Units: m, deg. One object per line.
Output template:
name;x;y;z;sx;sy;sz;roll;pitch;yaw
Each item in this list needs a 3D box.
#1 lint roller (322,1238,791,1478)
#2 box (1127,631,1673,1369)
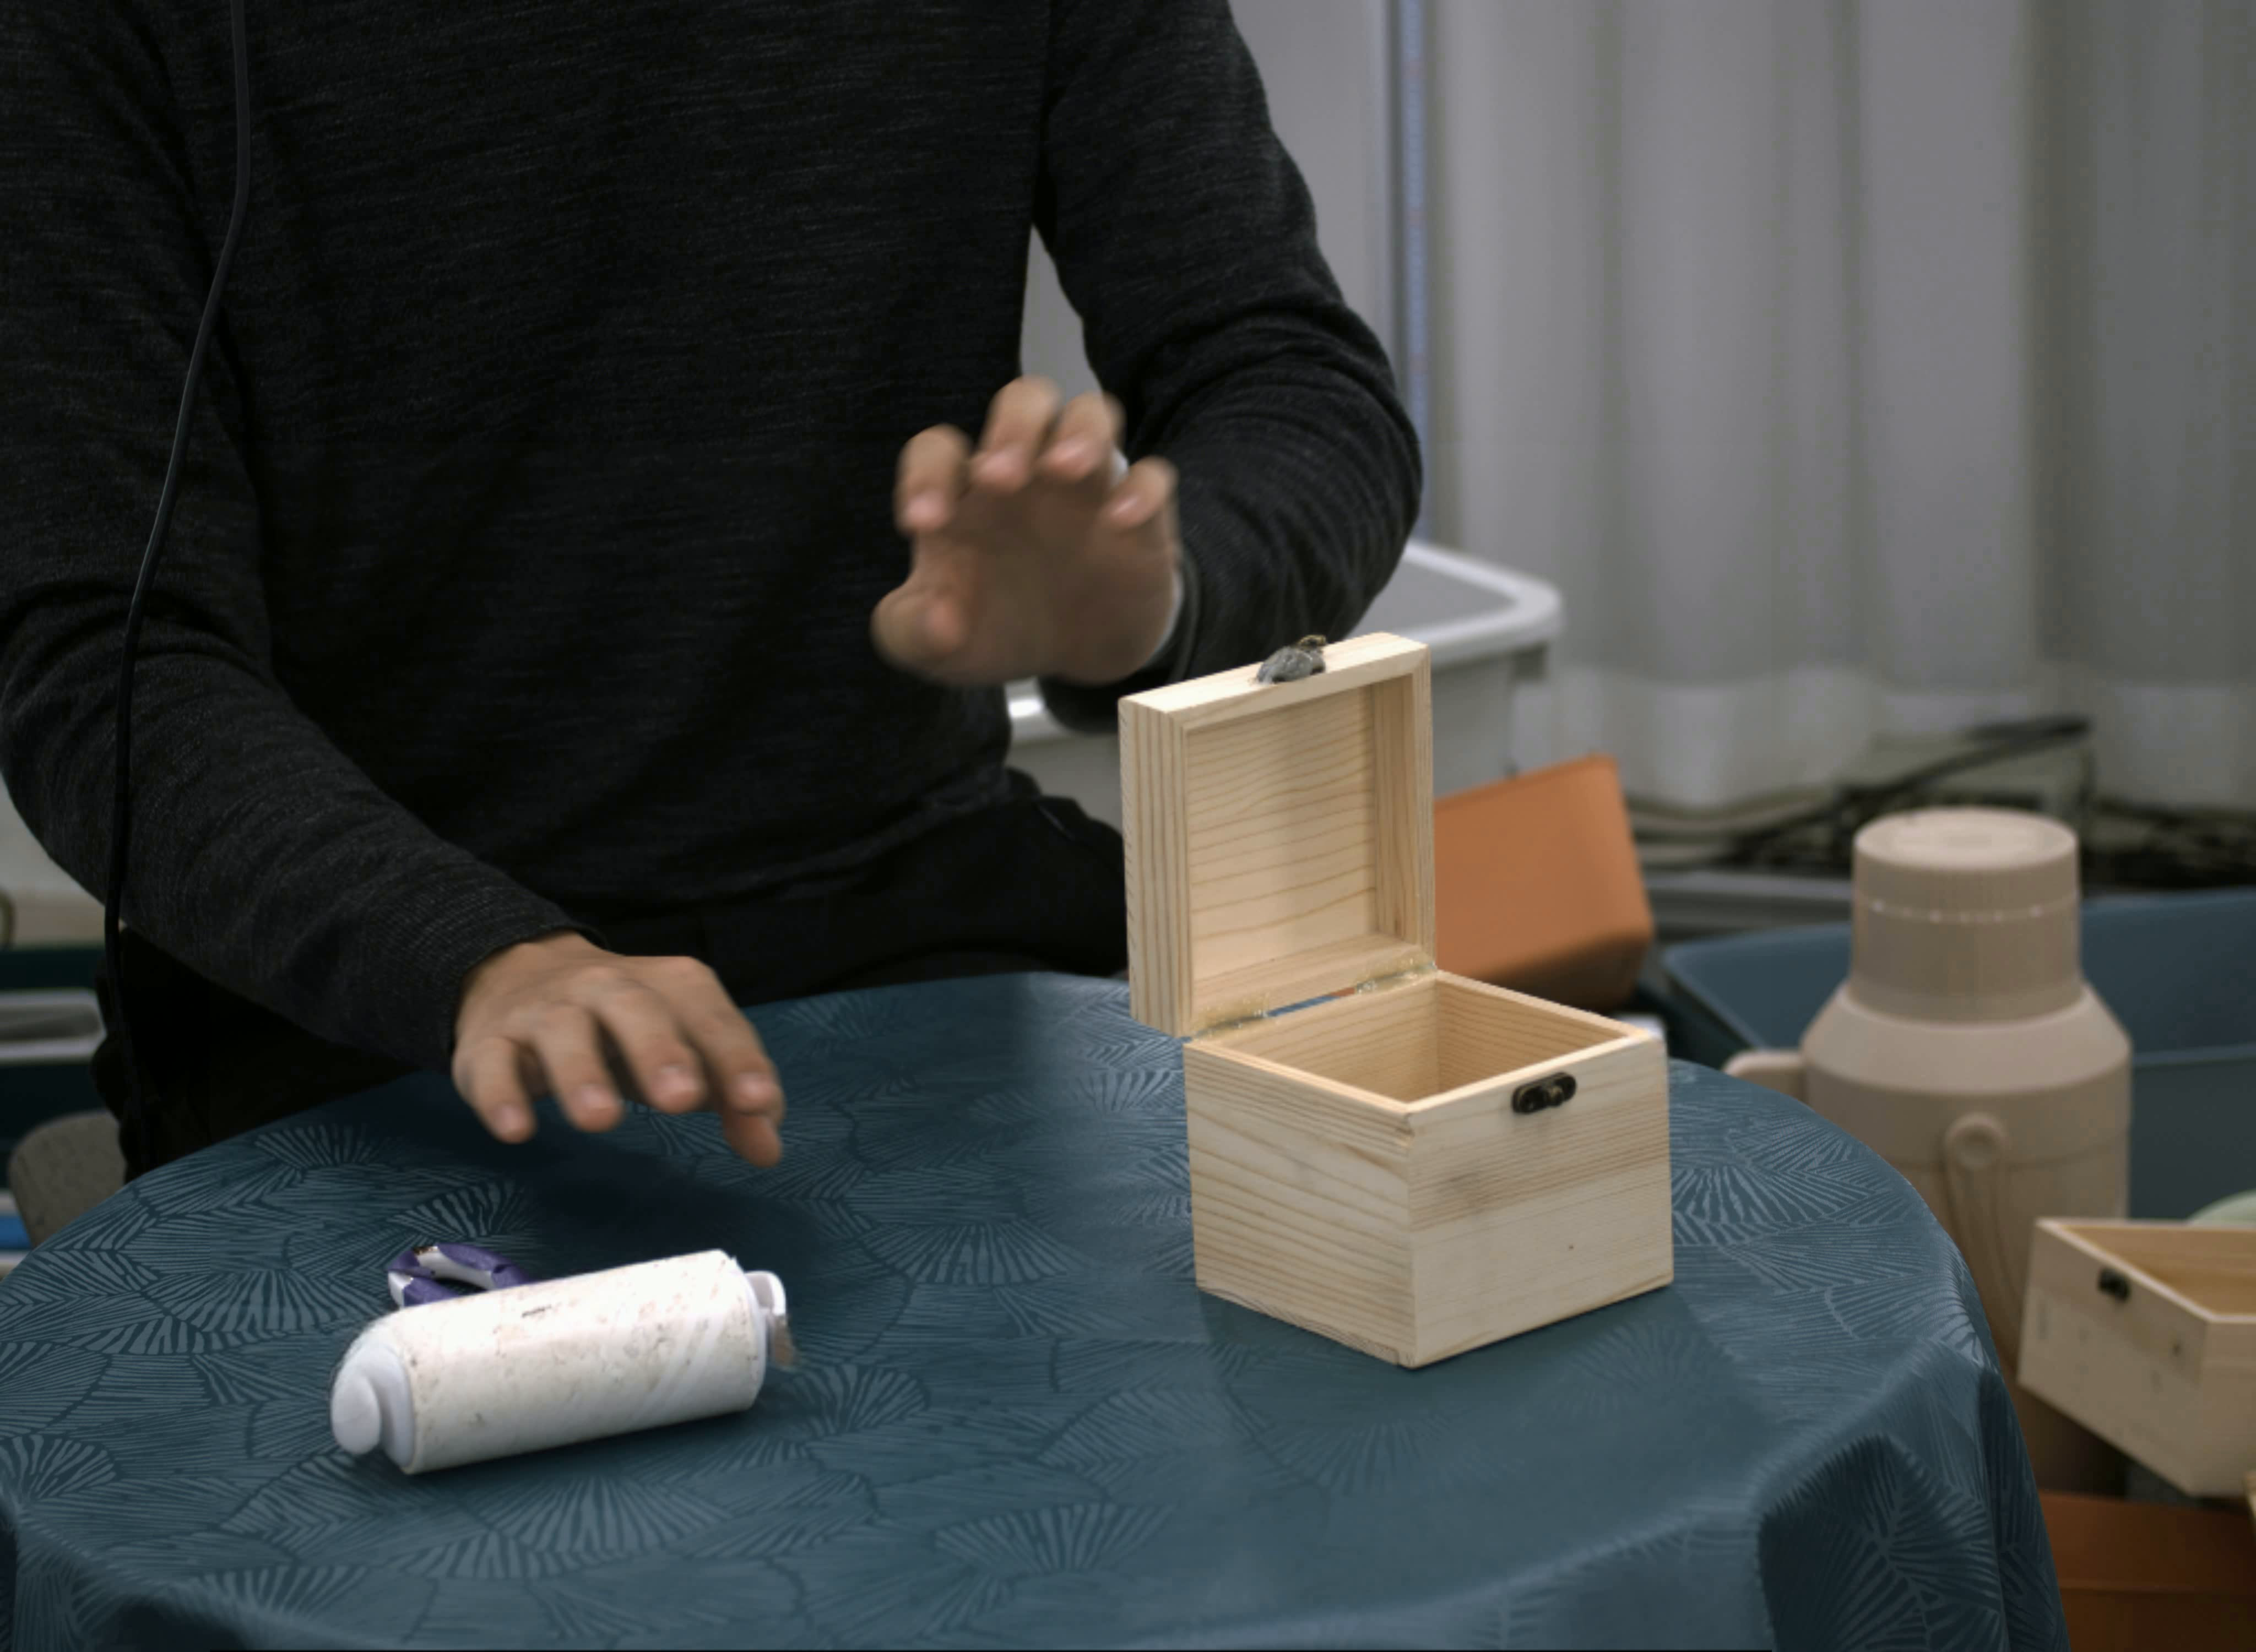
lint roller;-0.181;0.134;1.584;0.132;0.050;0.182;-9;18;-19
box;0.081;0.047;1.599;0.102;0.184;0.135;-13;16;-36
